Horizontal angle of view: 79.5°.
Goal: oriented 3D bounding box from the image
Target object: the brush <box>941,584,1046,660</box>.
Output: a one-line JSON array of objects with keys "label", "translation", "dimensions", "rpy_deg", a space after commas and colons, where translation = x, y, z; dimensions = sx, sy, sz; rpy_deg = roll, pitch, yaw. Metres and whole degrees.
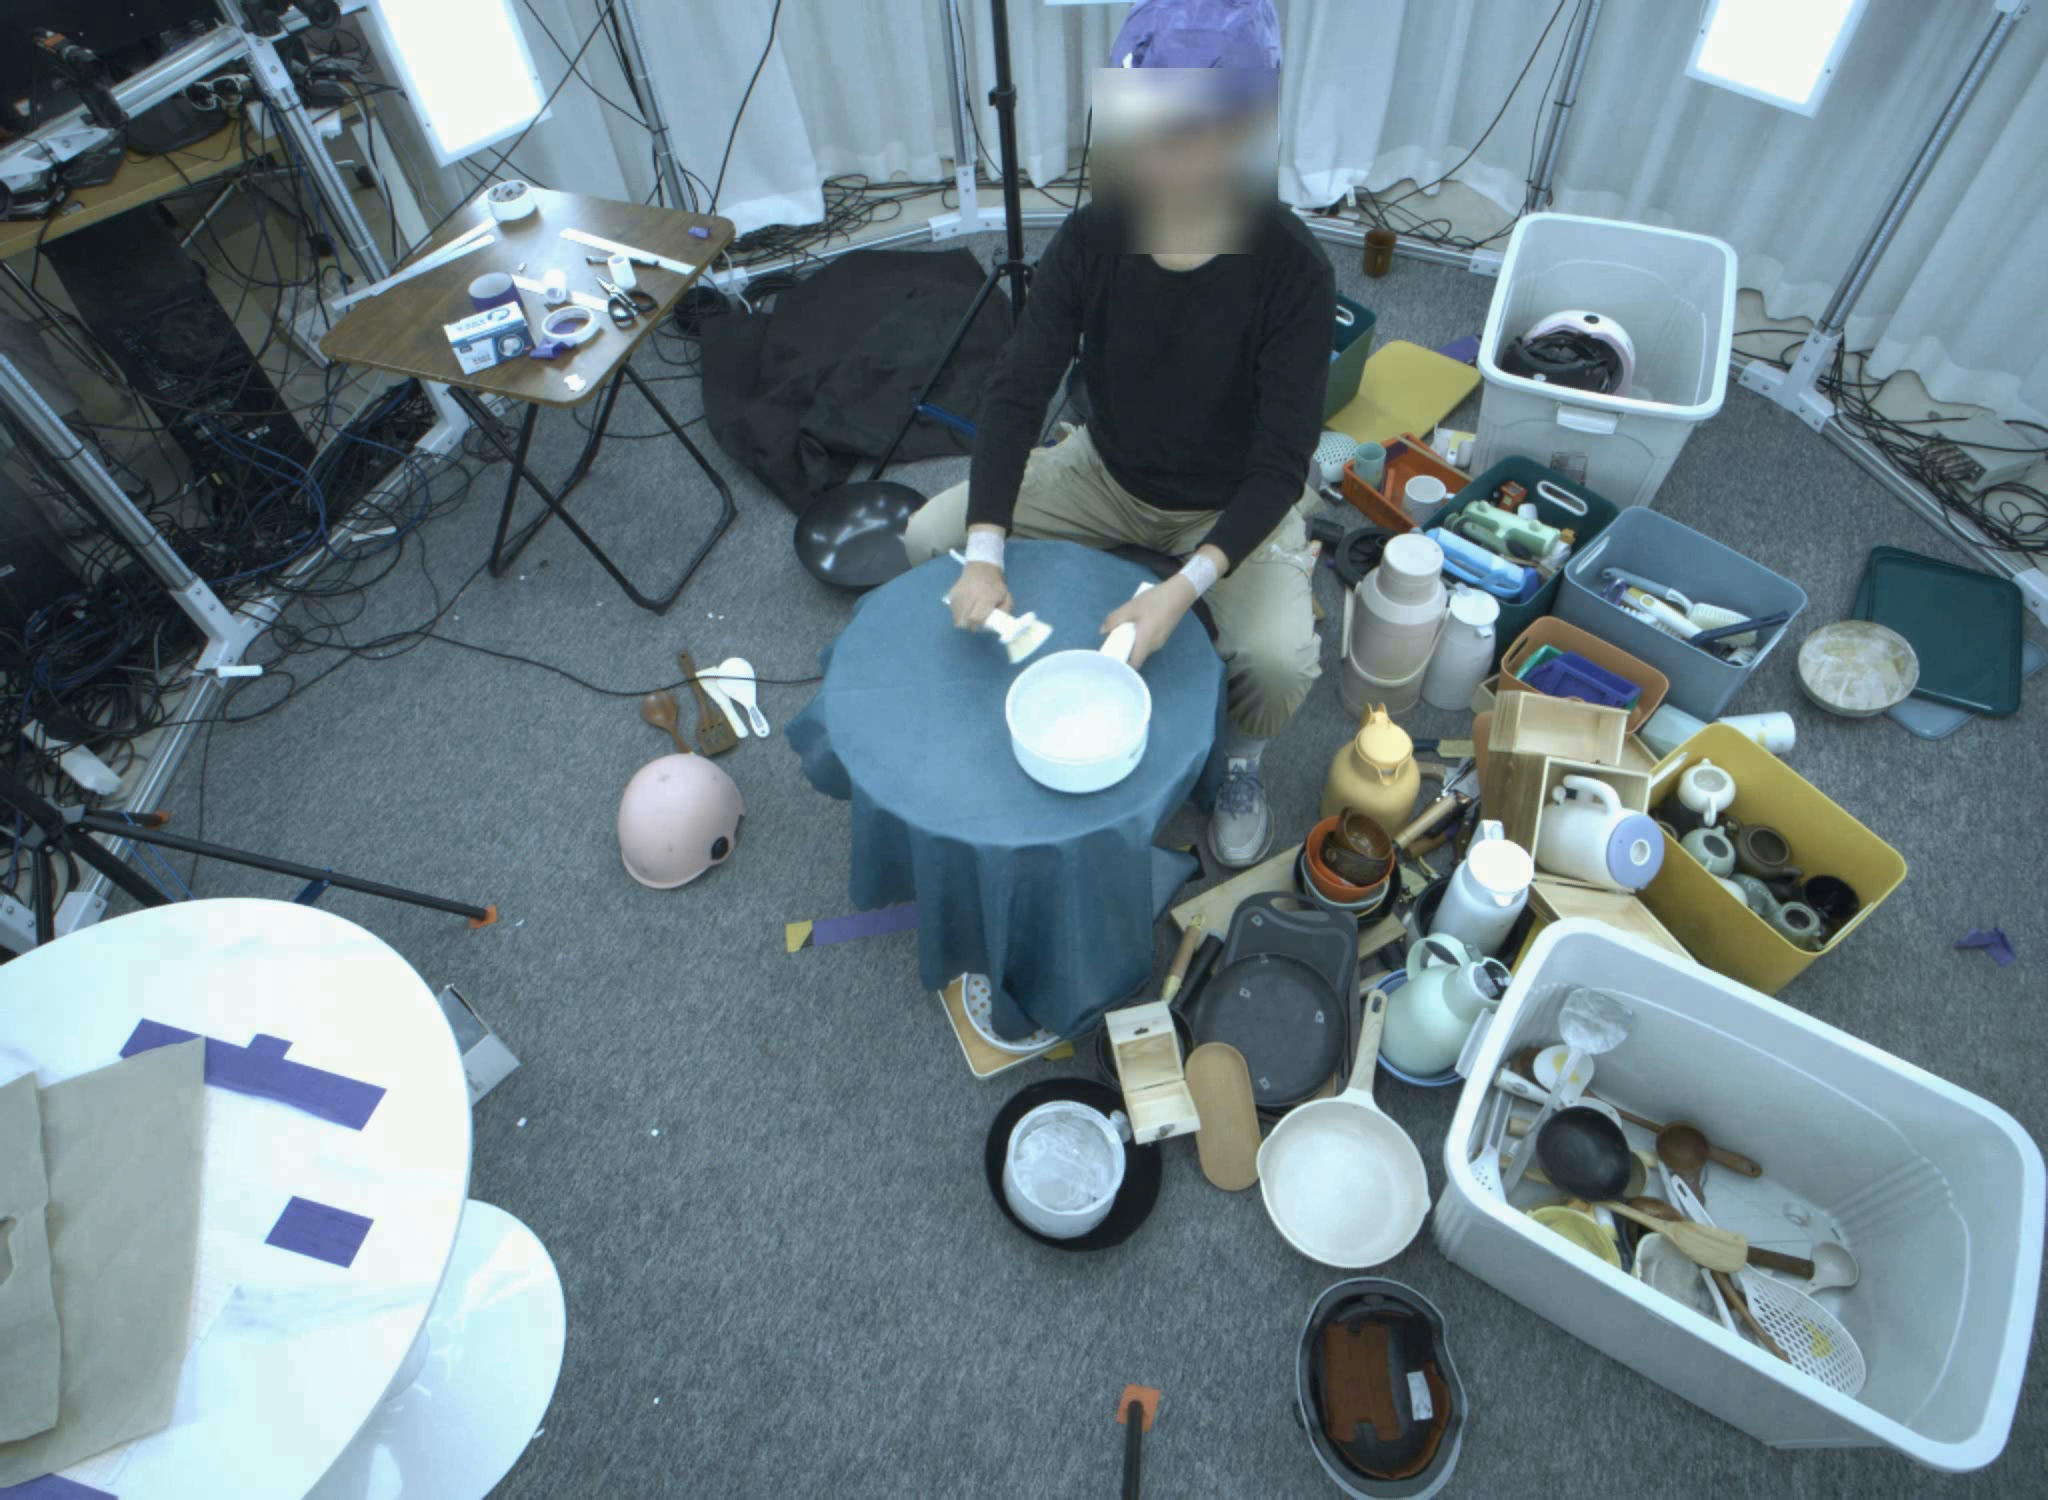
[{"label": "brush", "translation": [-0.050, -0.192, 1.800], "dimensions": [0.069, 0.057, 0.260], "rpy_deg": [-39, 33, -10]}]

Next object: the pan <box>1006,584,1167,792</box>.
[{"label": "pan", "translation": [0.114, -0.092, 1.789], "dimensions": [0.198, 0.103, 0.355], "rpy_deg": [22, 58, 18]}]
